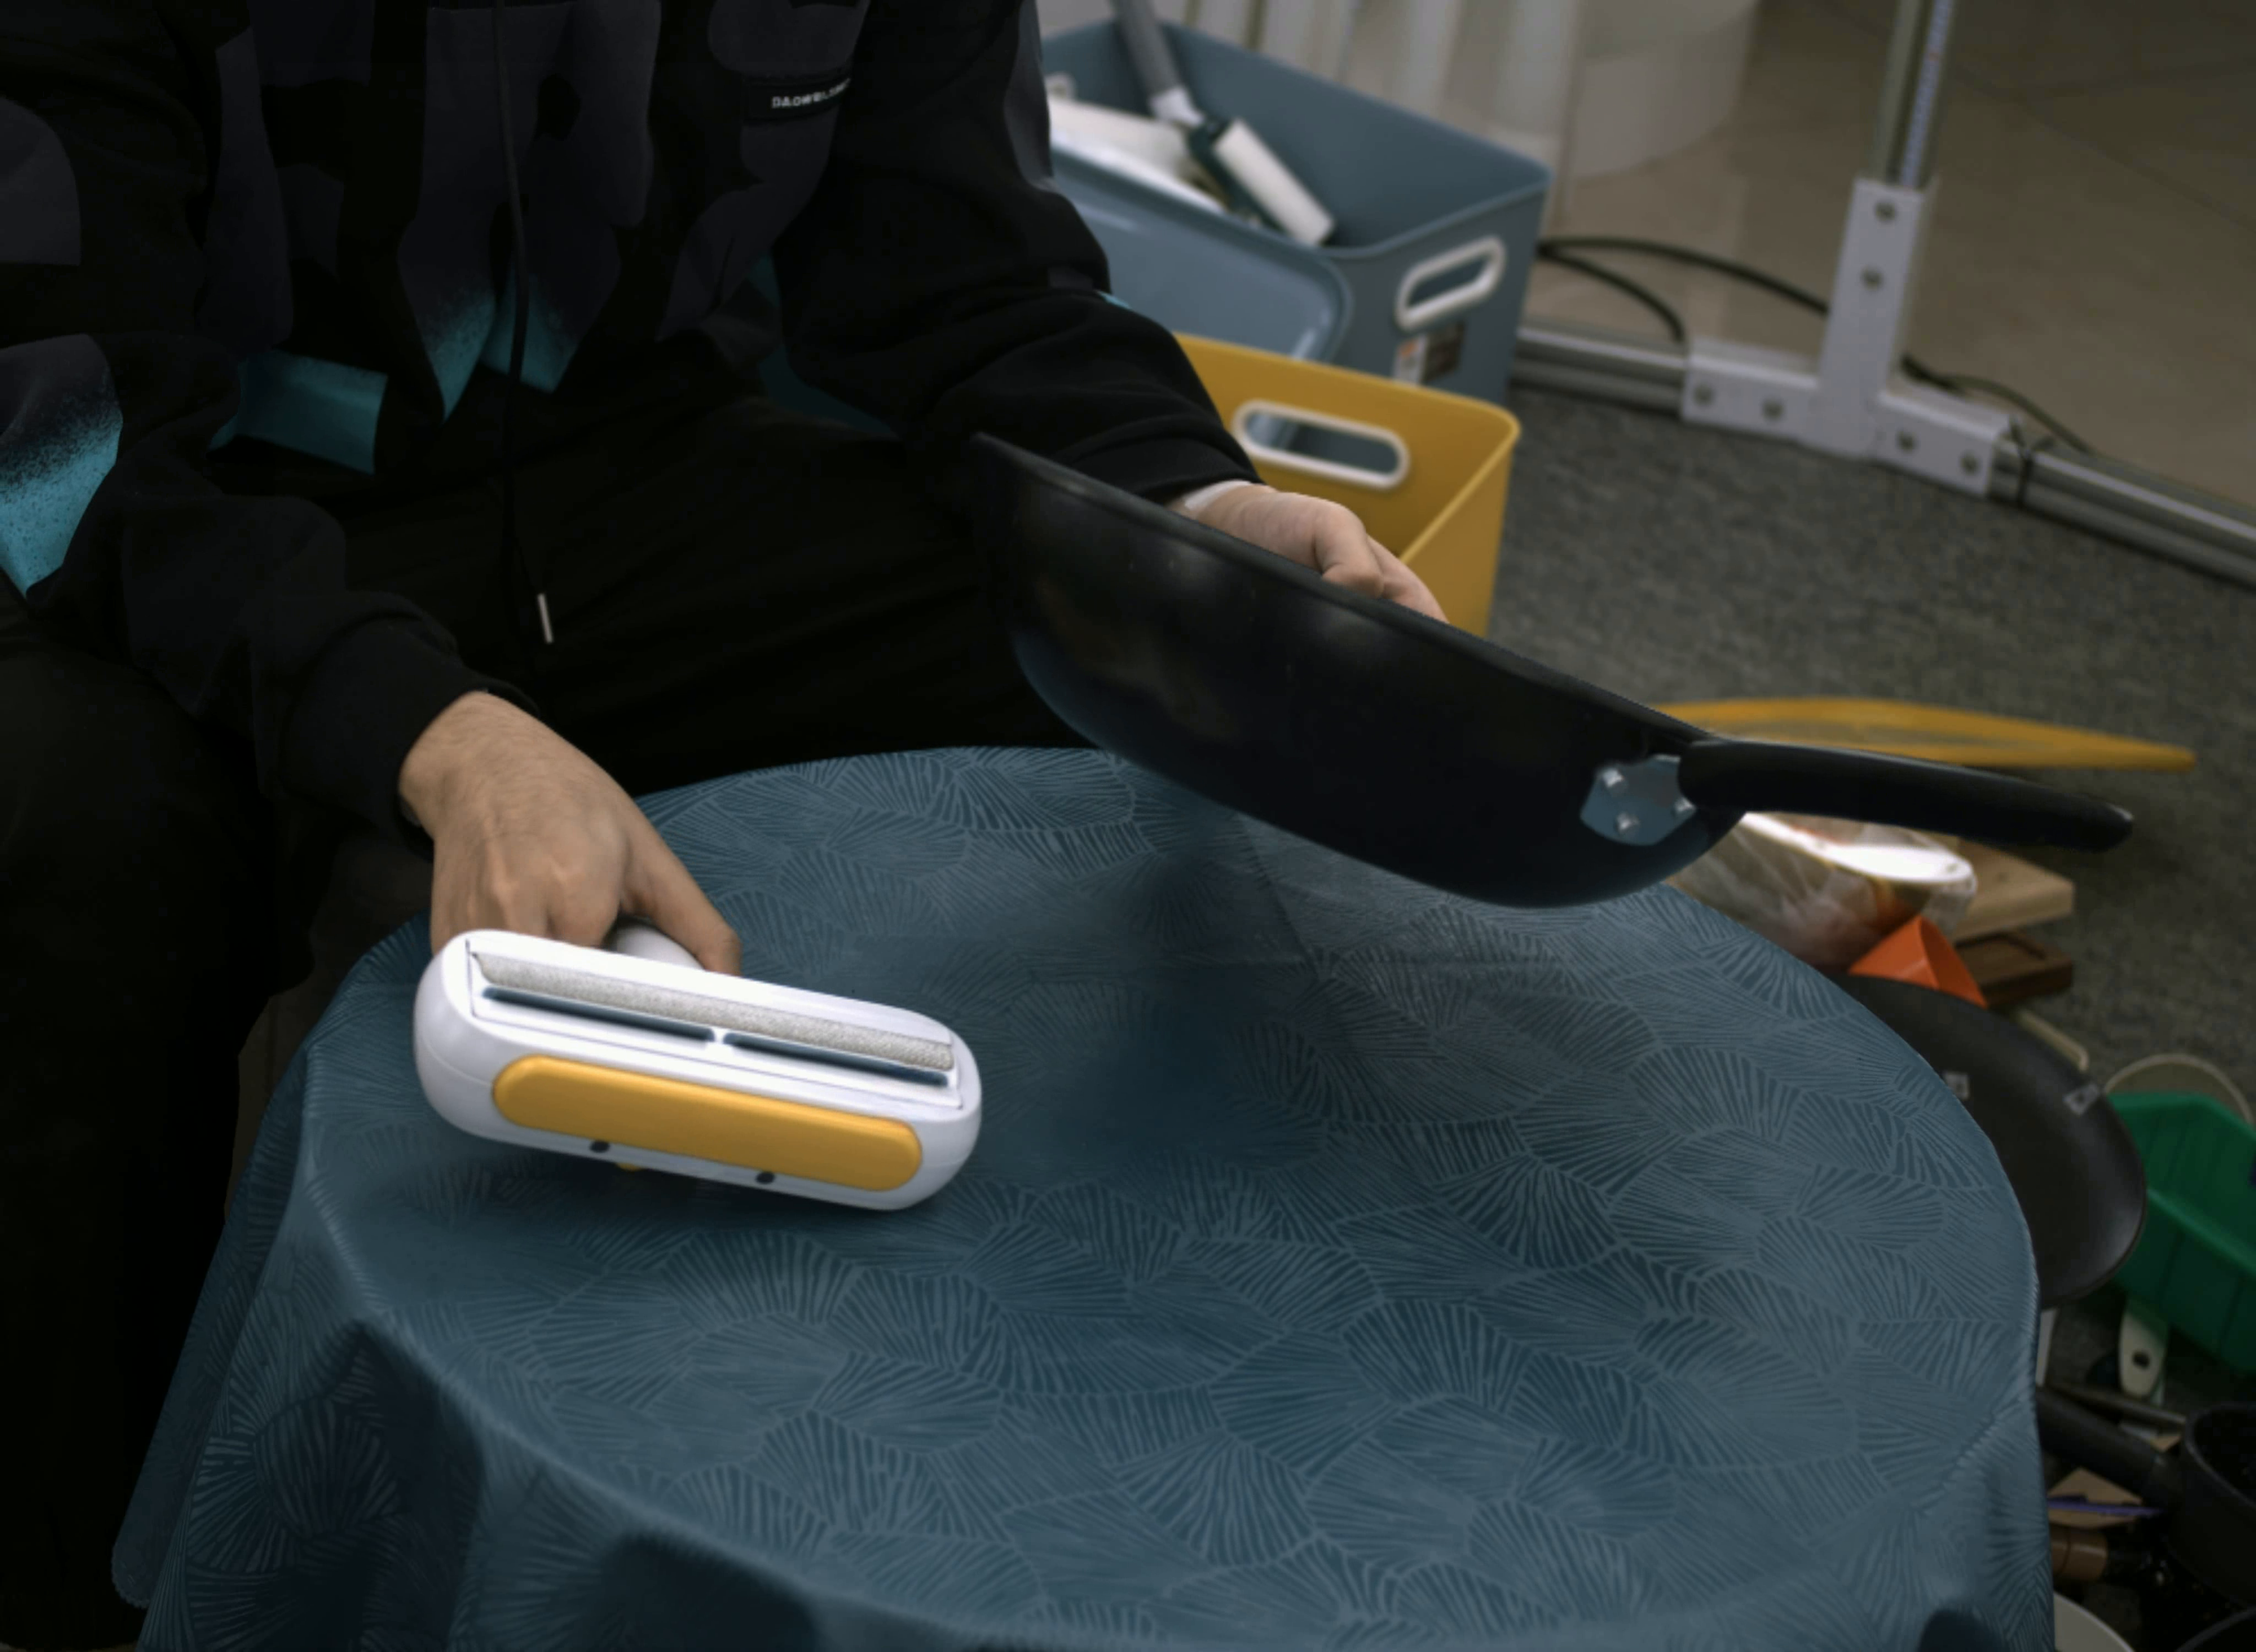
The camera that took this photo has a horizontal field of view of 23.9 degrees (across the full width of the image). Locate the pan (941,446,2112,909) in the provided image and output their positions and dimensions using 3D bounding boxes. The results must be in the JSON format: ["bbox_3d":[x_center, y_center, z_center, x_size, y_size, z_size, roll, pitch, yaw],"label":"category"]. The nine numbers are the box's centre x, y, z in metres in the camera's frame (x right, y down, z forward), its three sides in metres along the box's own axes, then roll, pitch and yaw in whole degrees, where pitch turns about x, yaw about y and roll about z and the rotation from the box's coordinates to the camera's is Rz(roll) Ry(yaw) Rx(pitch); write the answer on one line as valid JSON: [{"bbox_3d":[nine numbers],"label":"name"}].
[{"bbox_3d":[0.125,-0.026,1.803,0.307,0.112,0.480,16,6,-46],"label":"pan"}]

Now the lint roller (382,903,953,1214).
[{"bbox_3d":[-0.160,0.061,1.811,0.192,0.074,0.194,10,24,-12],"label":"lint roller"}]
